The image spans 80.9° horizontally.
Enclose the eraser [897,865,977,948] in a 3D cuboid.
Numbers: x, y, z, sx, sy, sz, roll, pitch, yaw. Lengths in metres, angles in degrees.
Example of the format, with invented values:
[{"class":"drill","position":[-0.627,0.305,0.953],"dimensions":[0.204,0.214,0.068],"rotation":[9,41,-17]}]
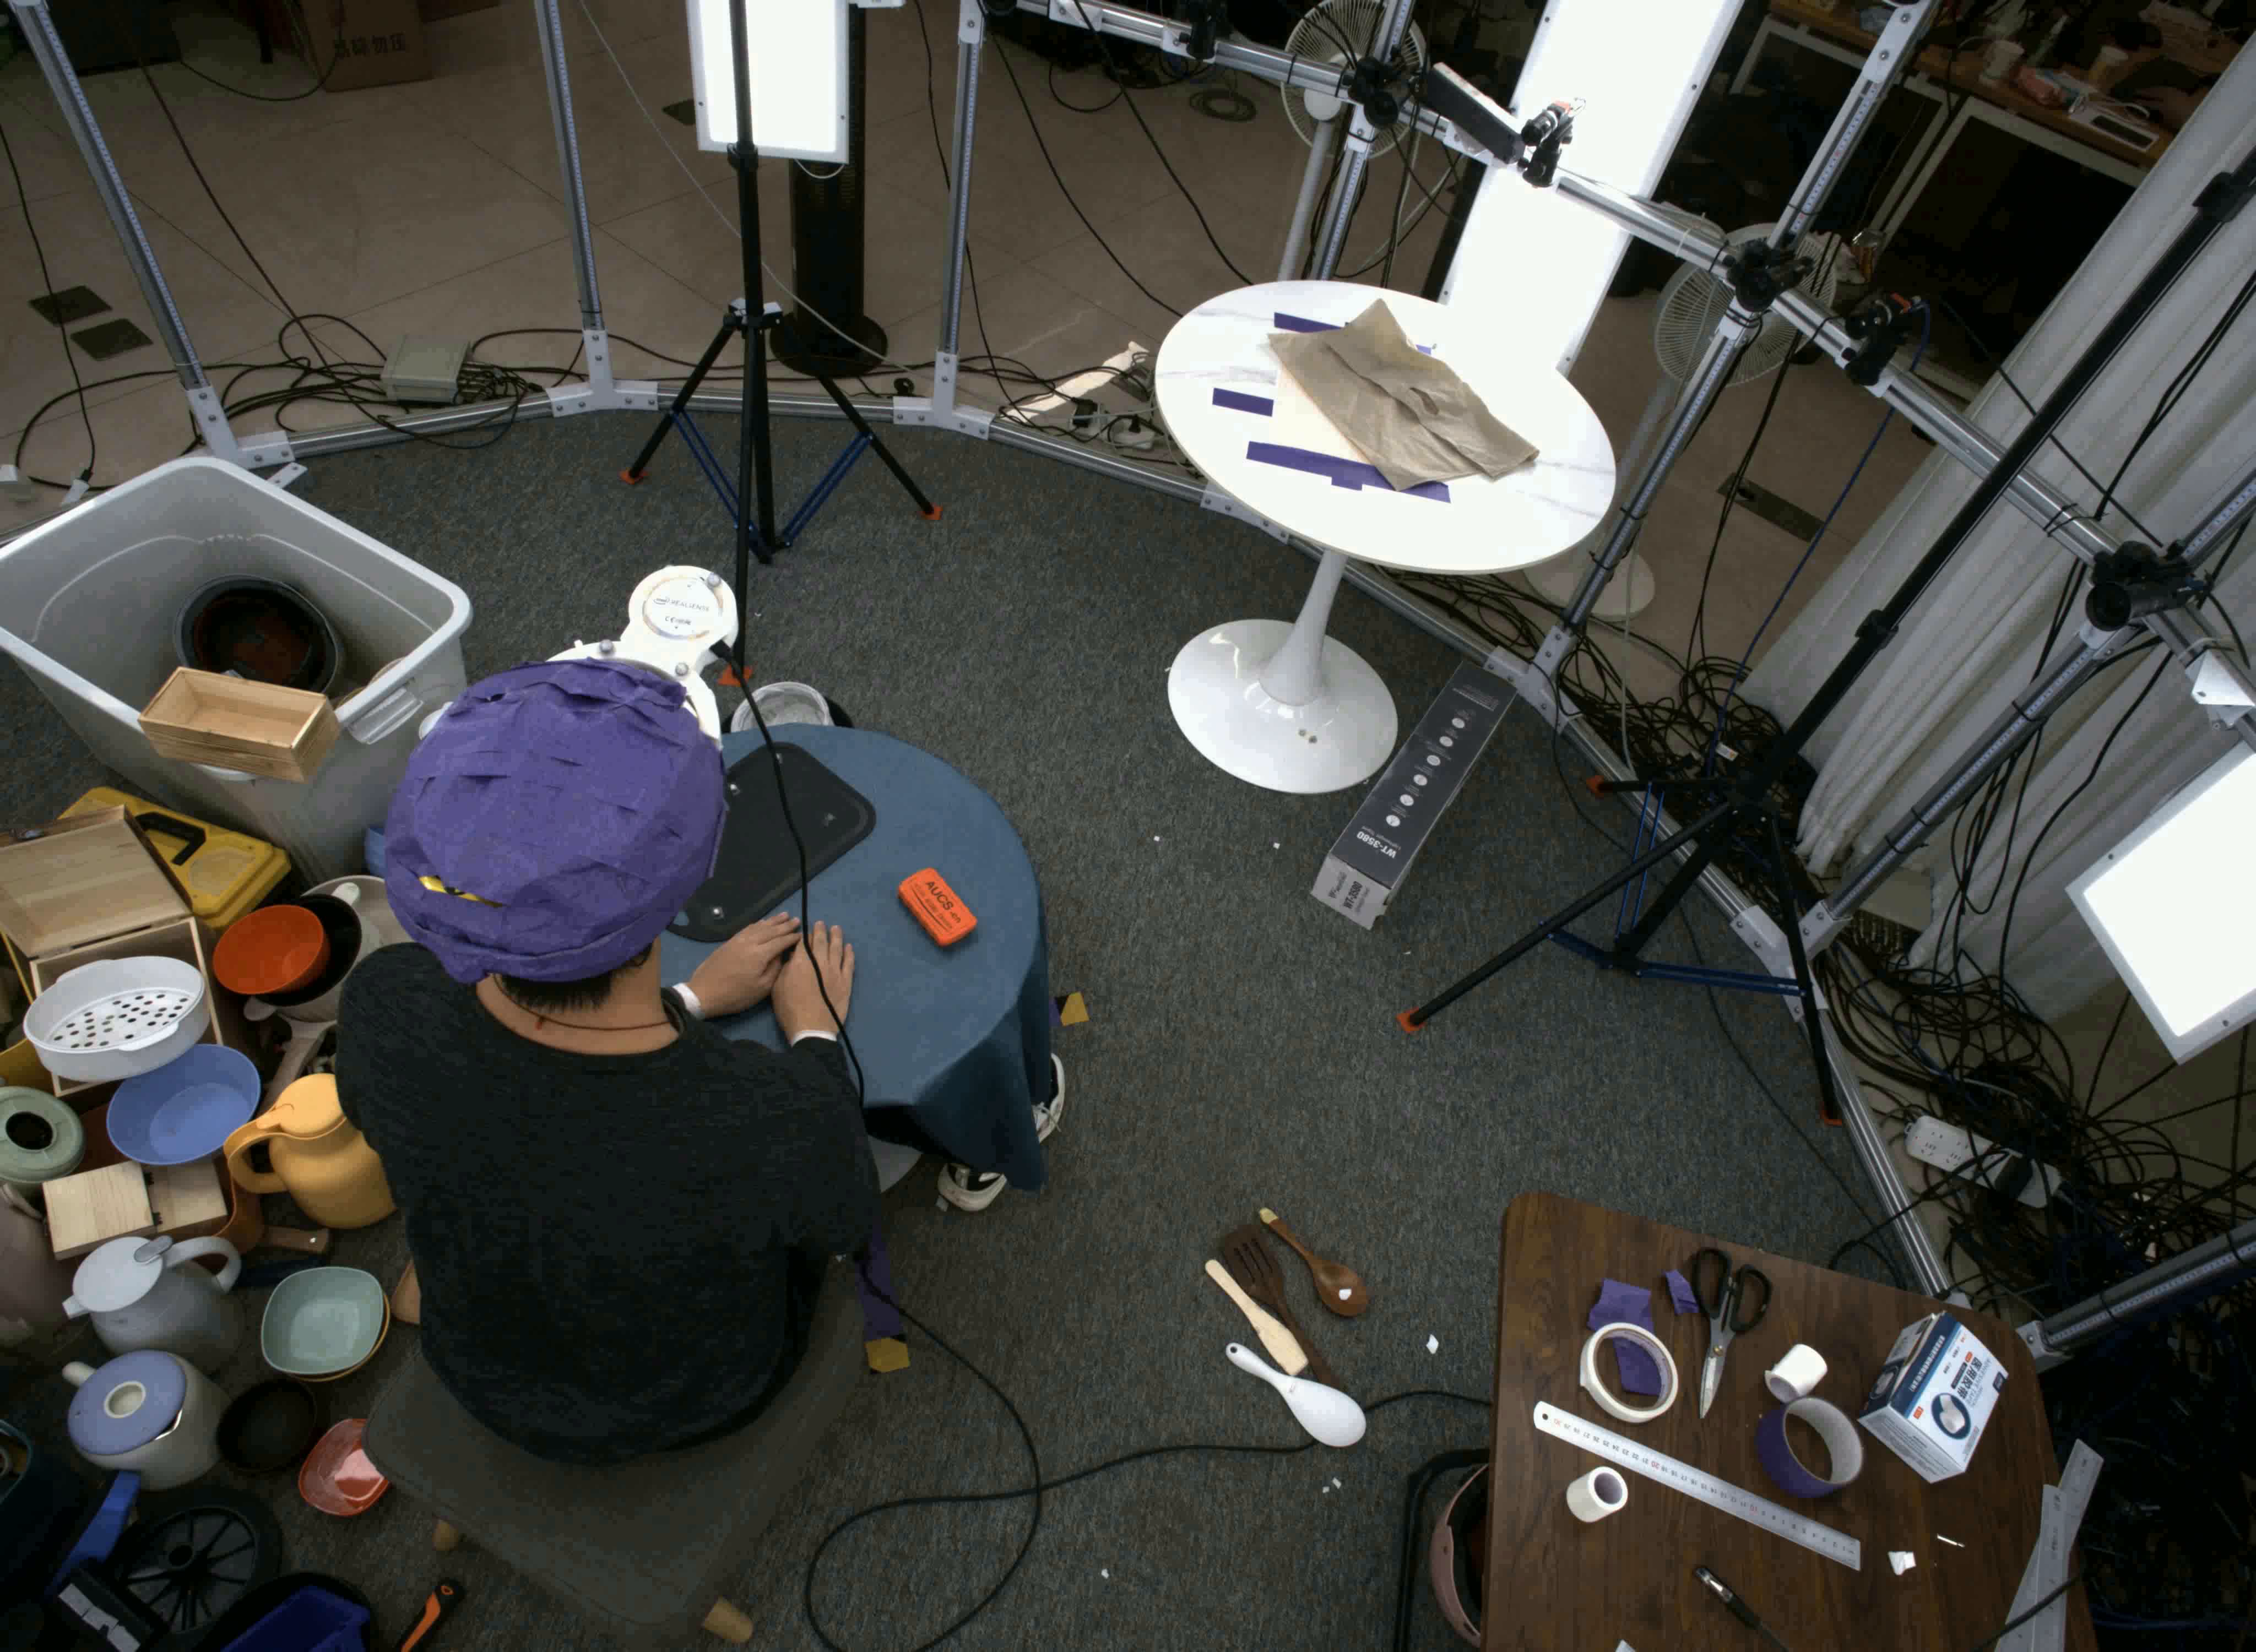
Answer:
[{"class":"eraser","position":[-0.245,0.101,1.670],"dimensions":[0.059,0.023,0.106],"rotation":[-32,69,-30]}]

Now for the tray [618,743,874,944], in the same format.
[{"class":"tray","position":[-0.500,0.018,1.681],"dimensions":[0.207,0.010,0.325],"rotation":[38,54,14]}]
